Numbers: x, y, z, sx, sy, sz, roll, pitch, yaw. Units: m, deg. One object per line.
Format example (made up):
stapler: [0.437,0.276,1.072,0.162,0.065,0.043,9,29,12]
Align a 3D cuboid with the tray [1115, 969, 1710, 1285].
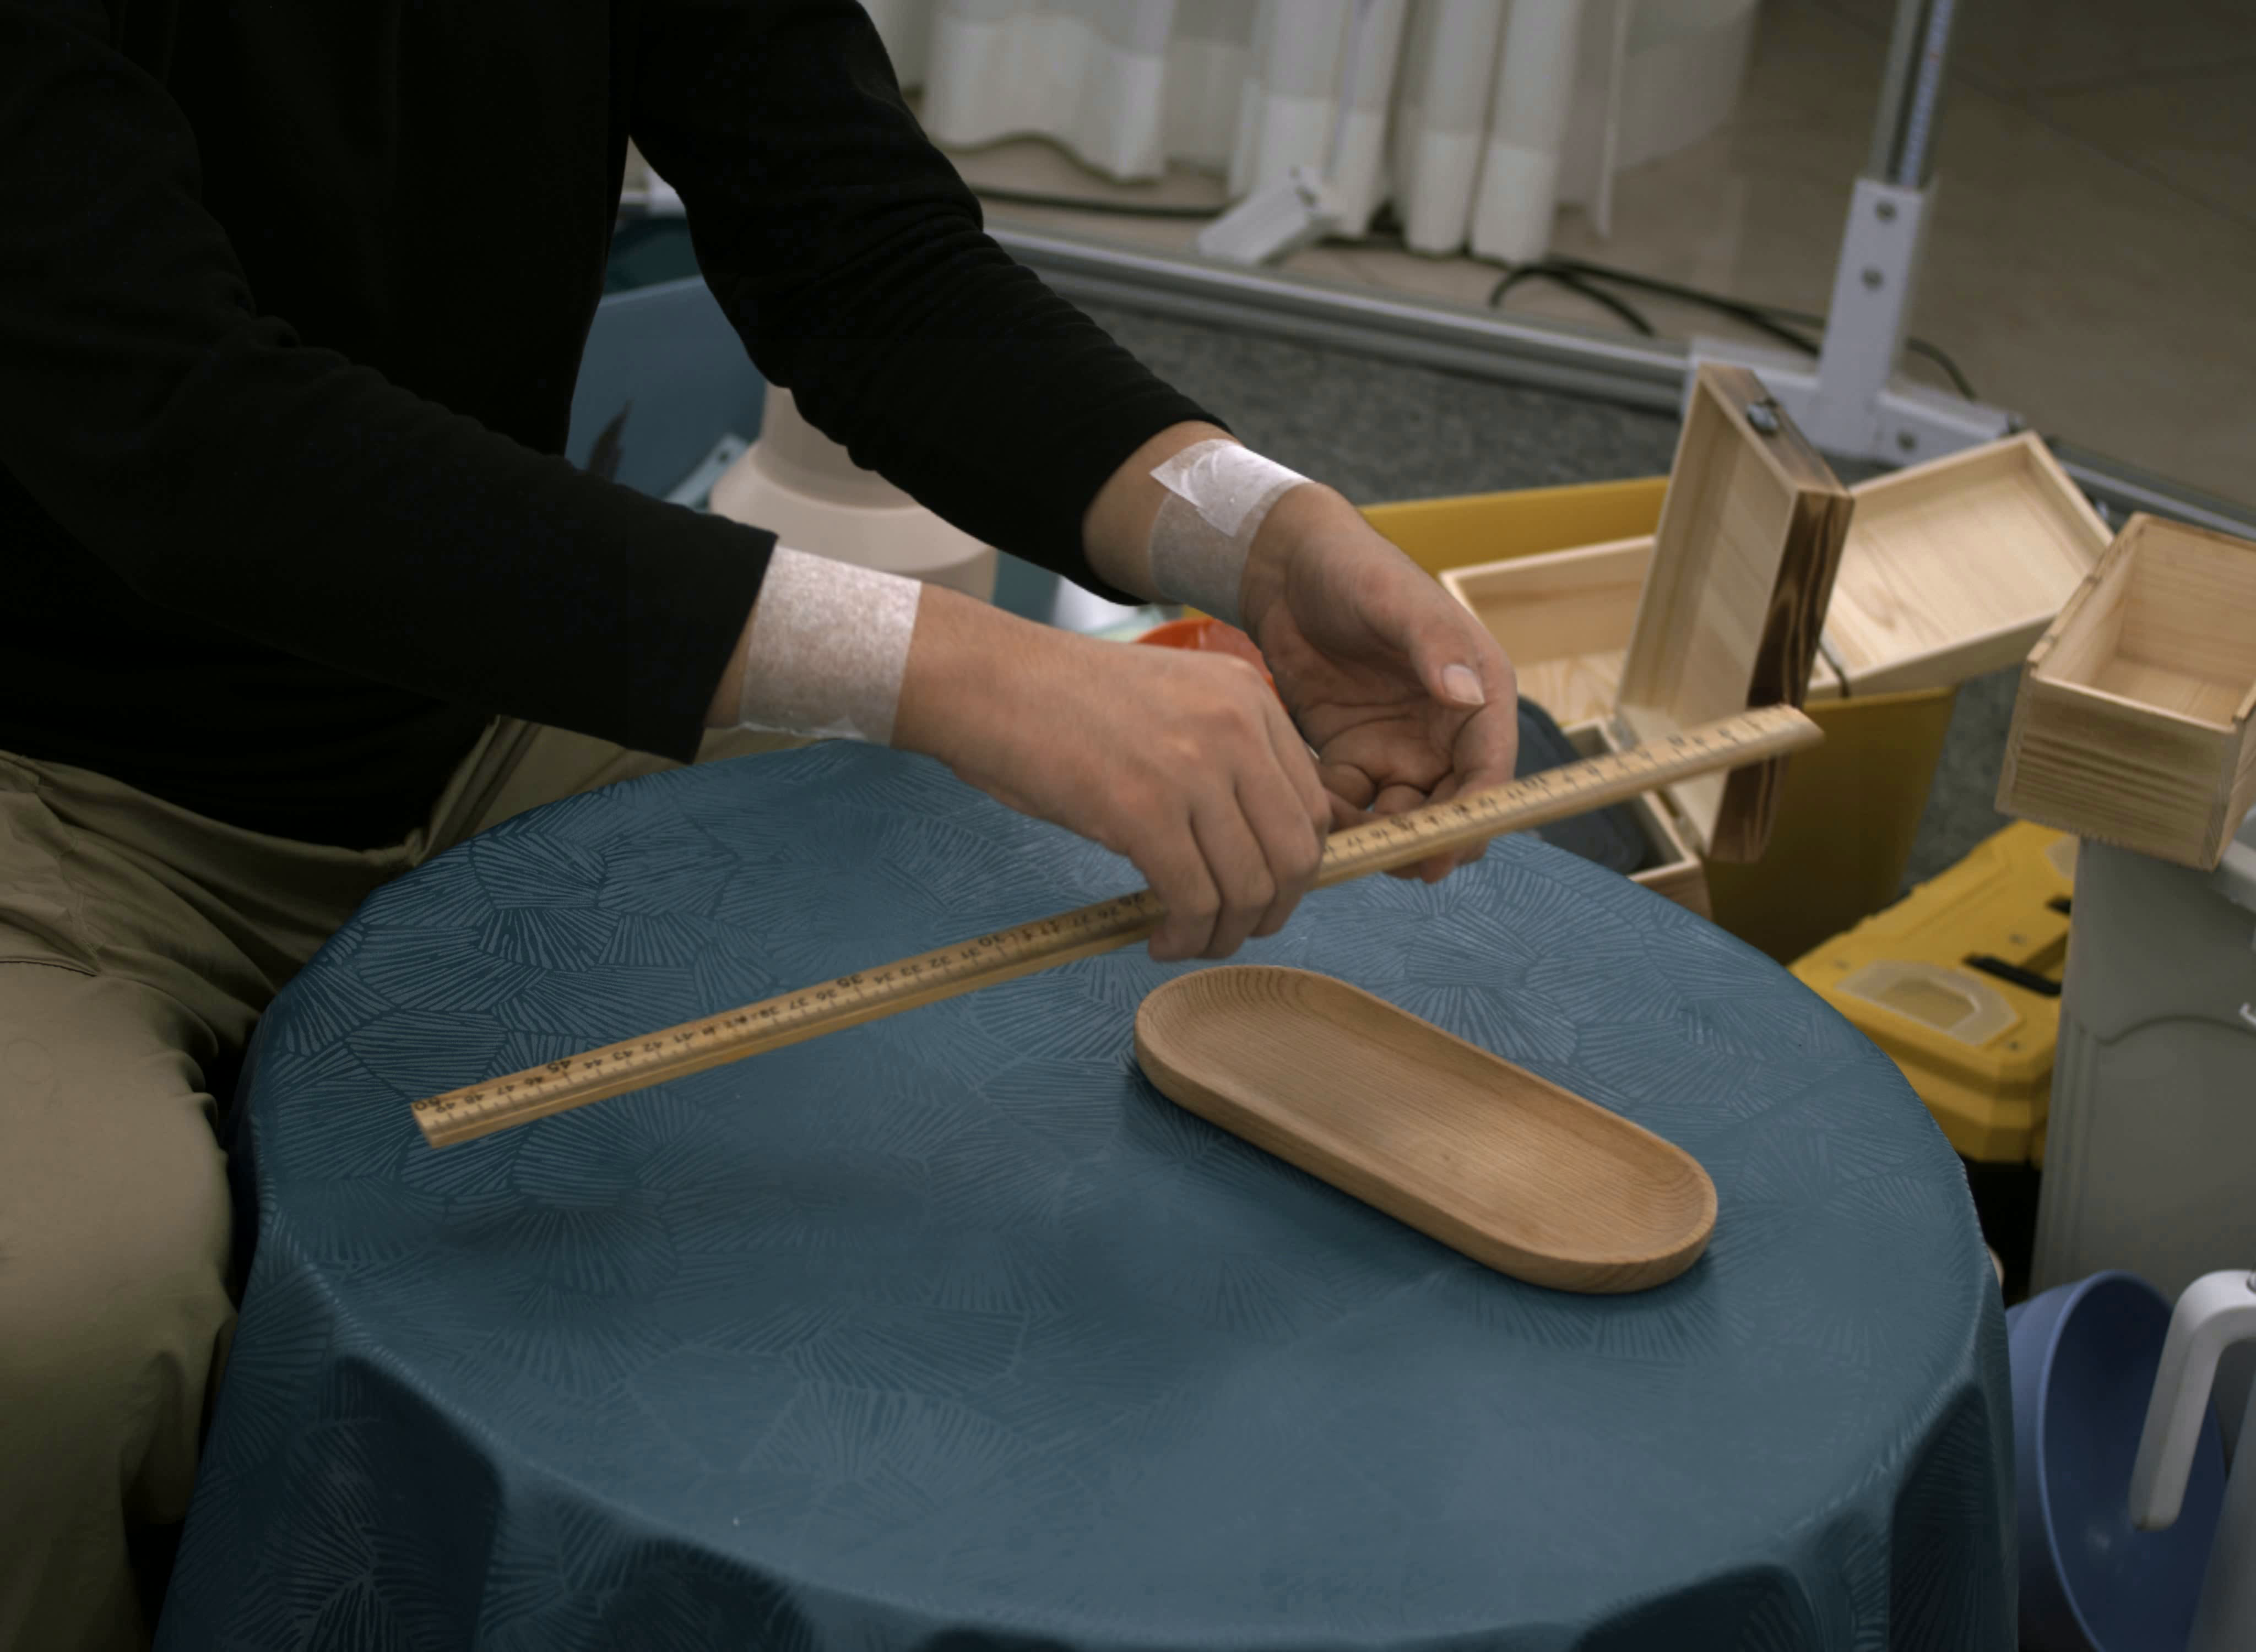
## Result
tray: [0.096,0.103,1.846,0.232,0.020,0.101,23,29,32]

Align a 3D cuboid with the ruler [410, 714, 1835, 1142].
ruler: [0.004,0.030,1.760,0.498,0.006,0.027,-15,27,-15]
